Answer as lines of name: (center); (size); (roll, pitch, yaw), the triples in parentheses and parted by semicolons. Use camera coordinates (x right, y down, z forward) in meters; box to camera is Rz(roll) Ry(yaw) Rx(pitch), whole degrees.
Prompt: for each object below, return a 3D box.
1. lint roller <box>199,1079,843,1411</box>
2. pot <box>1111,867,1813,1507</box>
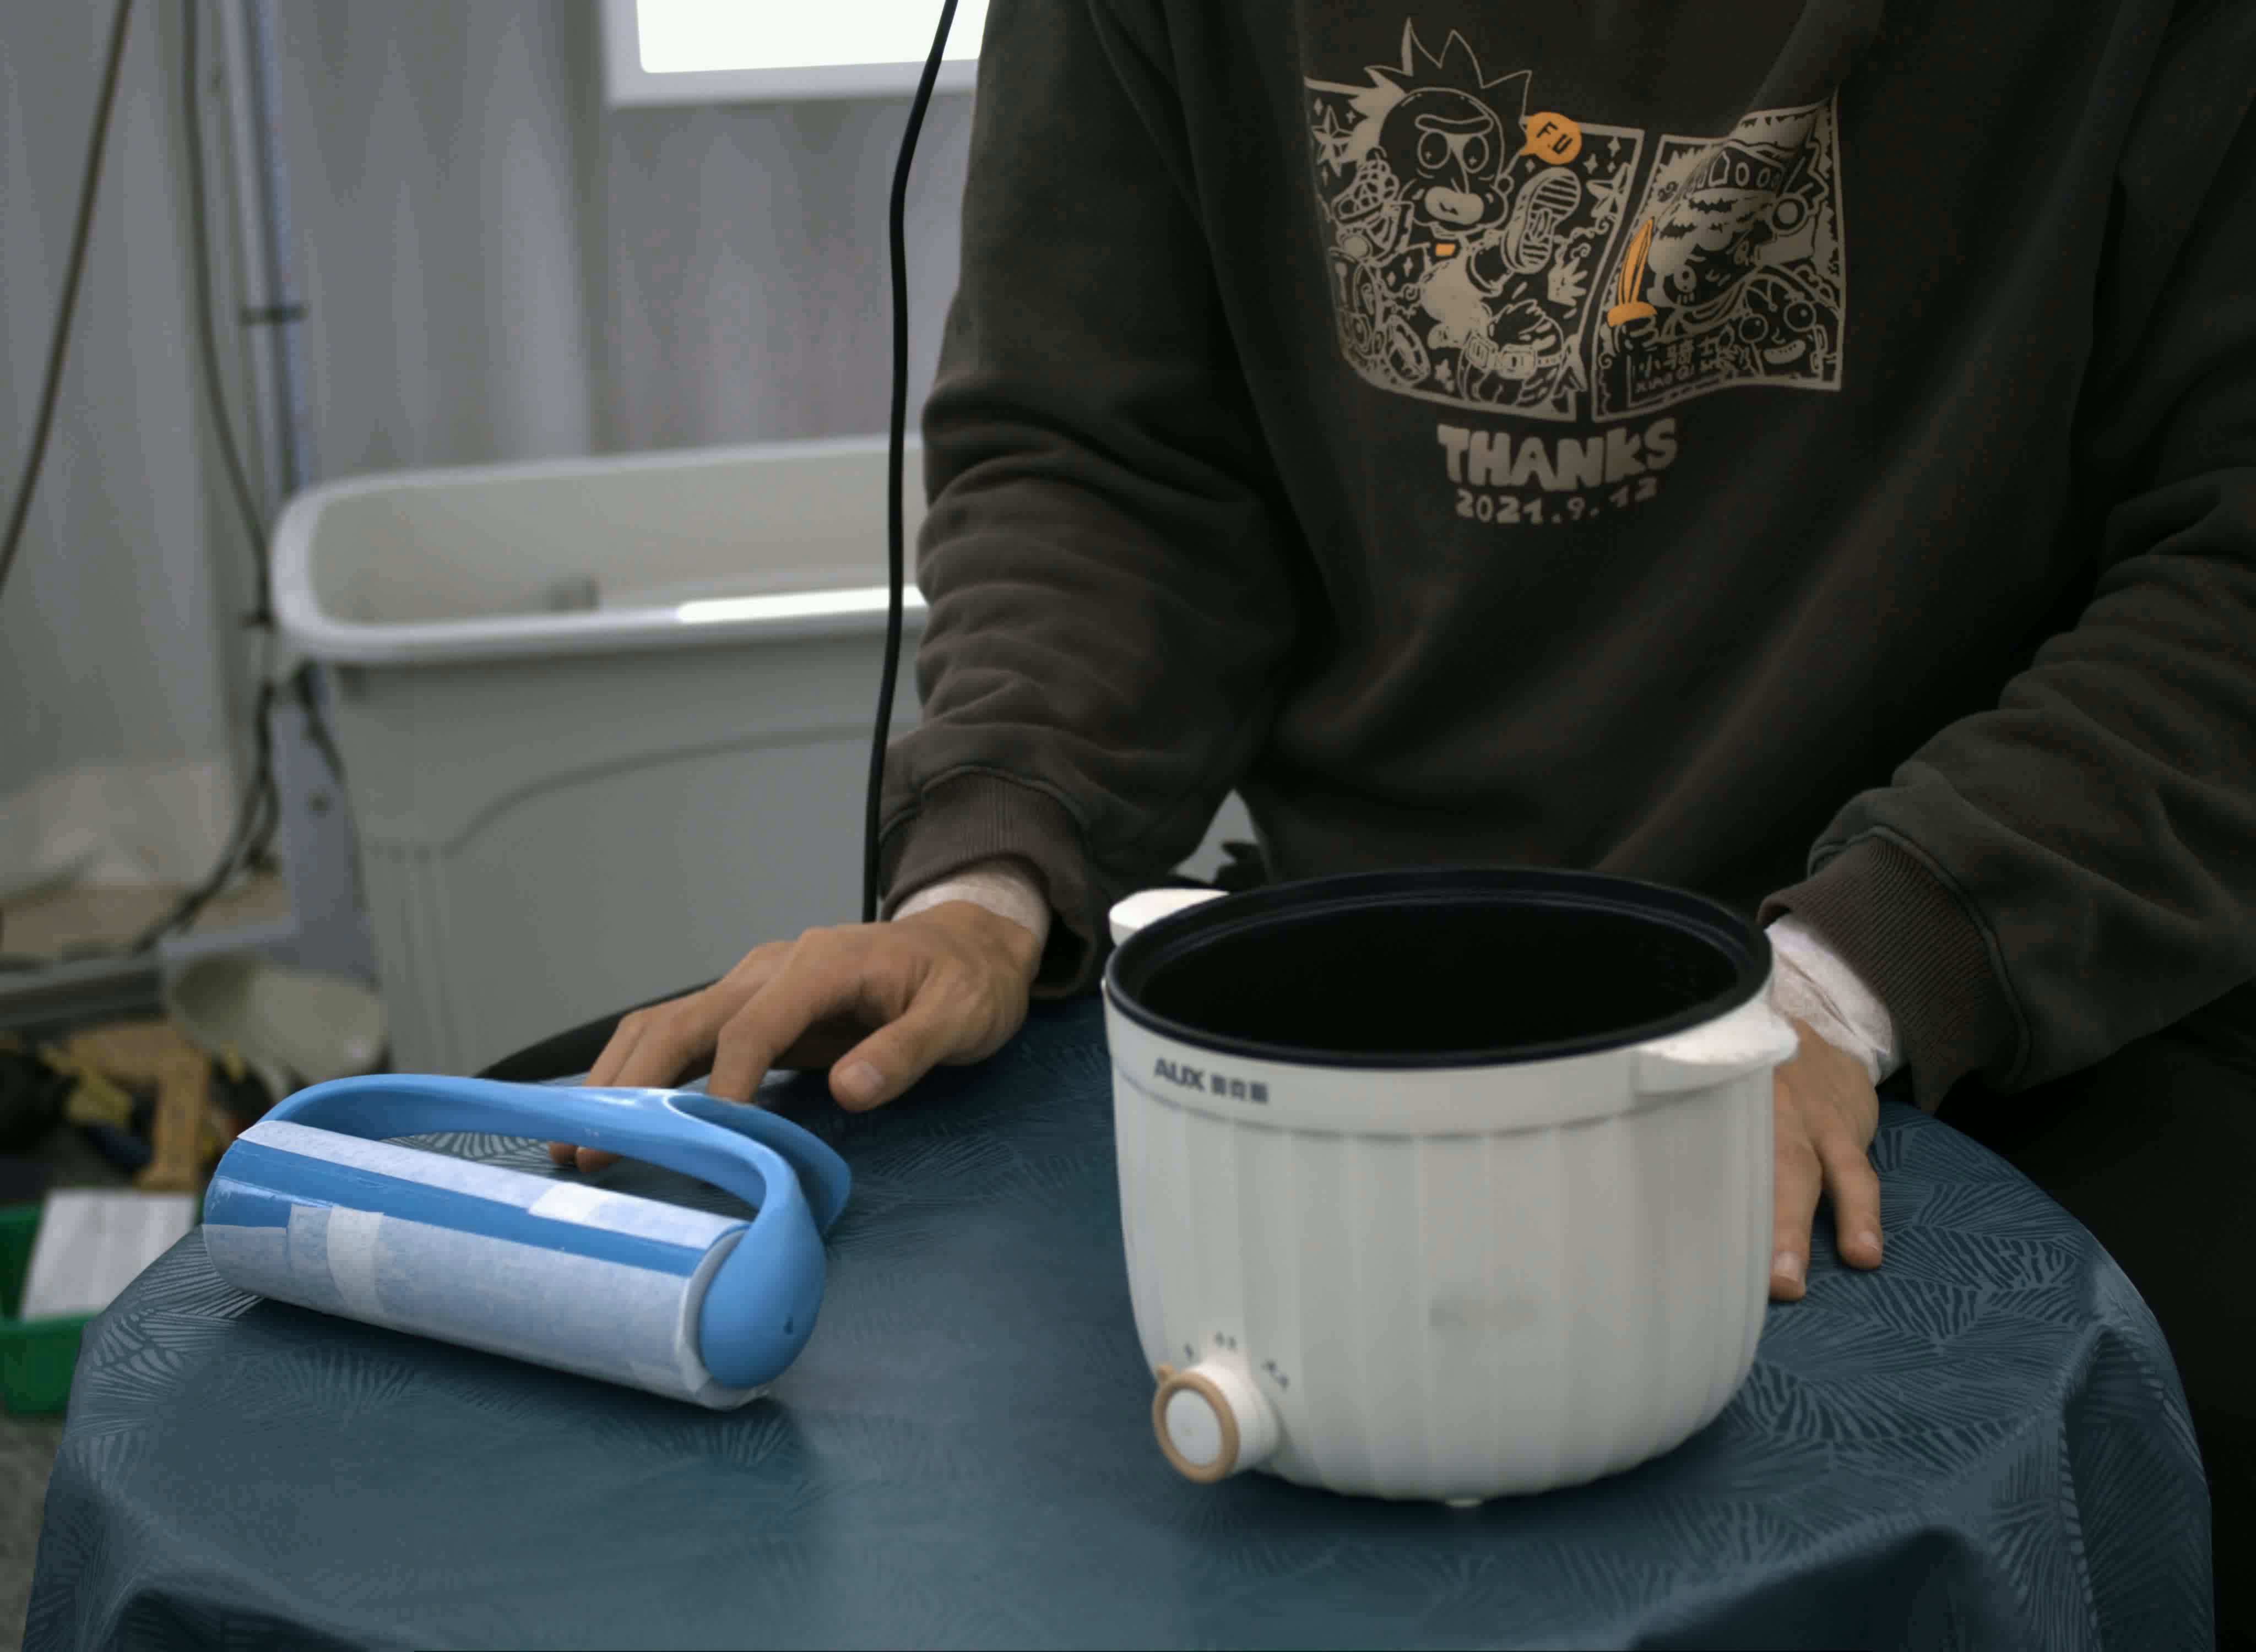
lint roller: (-0.152, 0.112, 1.652); (0.229, 0.067, 0.180); (6, 18, 35)
pot: (0.085, 0.101, 1.492); (0.190, 0.142, 0.241); (-12, 16, -43)
